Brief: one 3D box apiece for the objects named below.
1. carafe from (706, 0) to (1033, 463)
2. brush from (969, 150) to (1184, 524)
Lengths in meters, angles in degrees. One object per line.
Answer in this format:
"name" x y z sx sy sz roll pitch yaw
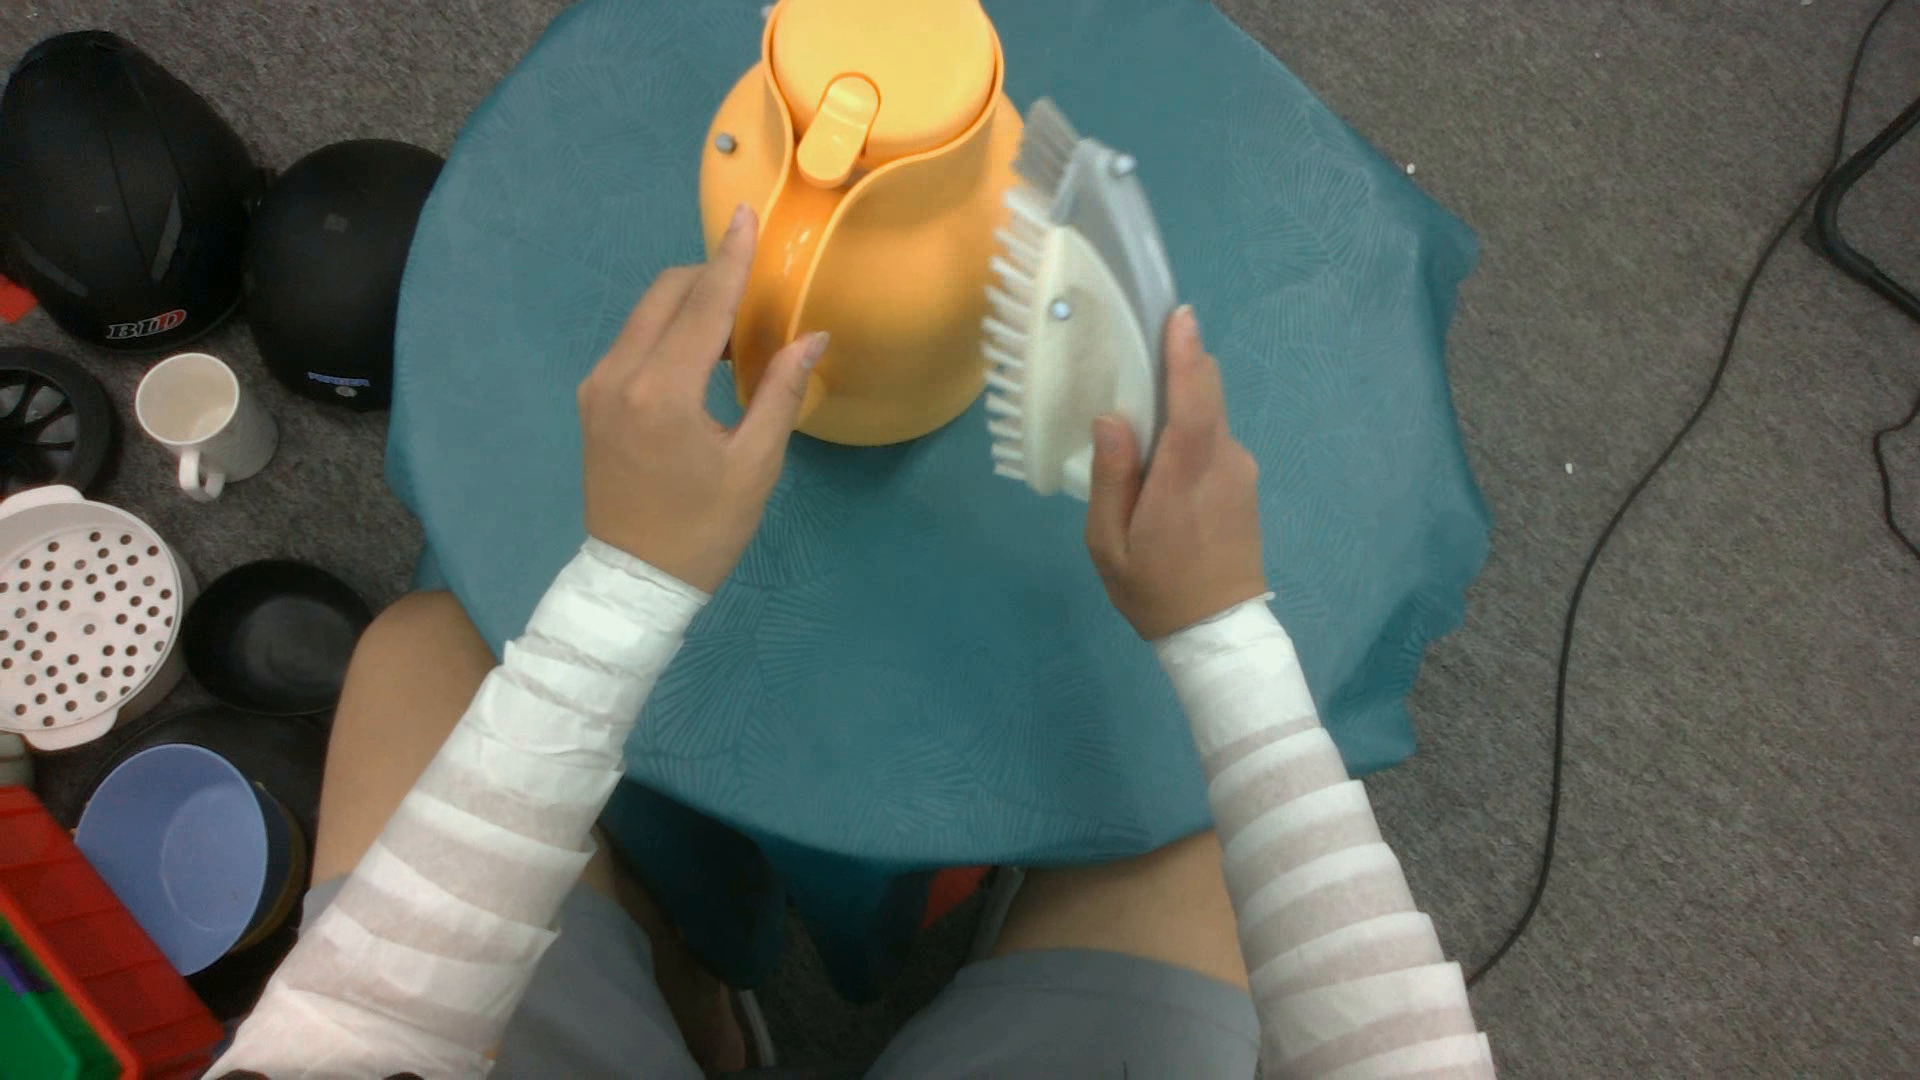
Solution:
"carafe" -0.053 -0.136 0.673 0.163 0.259 0.203 25 69 4
"brush" 0.053 -0.080 0.599 0.094 0.175 0.062 25 50 35
